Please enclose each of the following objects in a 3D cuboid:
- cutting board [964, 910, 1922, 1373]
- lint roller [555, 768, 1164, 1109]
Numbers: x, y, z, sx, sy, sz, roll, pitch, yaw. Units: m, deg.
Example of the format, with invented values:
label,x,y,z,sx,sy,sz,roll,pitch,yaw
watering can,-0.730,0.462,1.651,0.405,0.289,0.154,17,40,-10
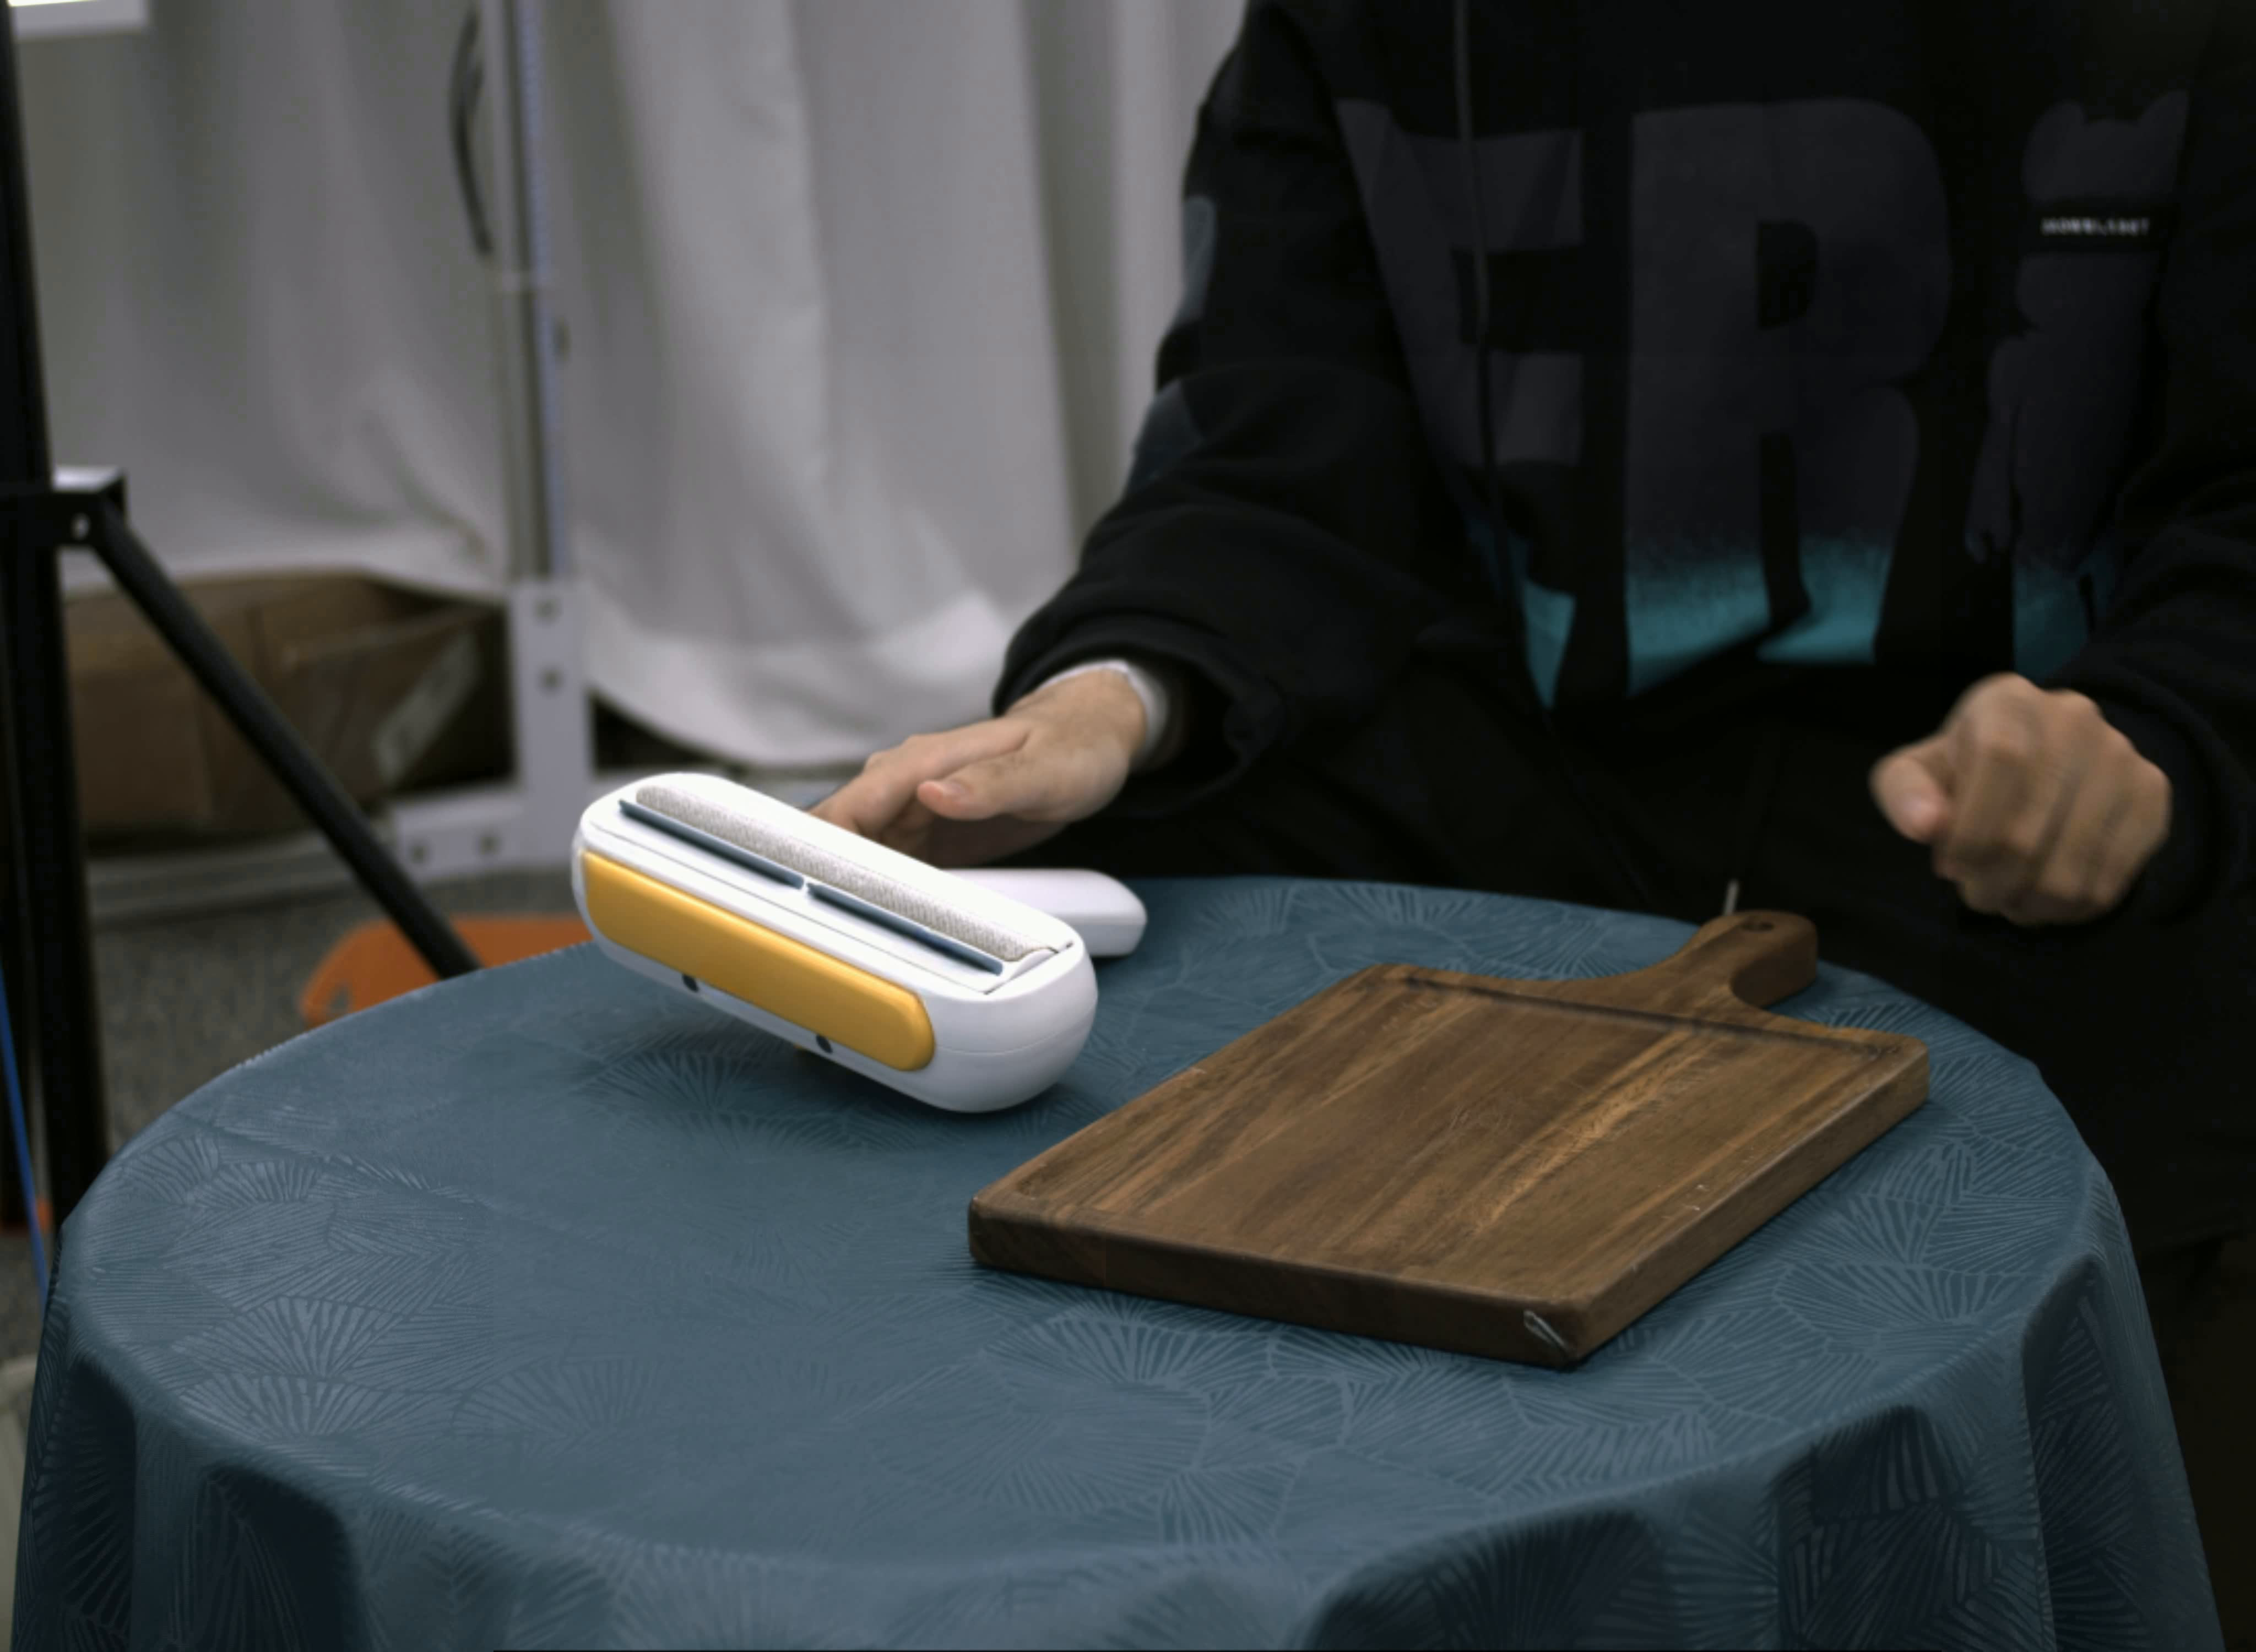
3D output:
label,x,y,z,sx,sy,sz,roll,pitch,yaw
cutting board,0.122,0.083,1.587,0.205,0.023,0.346,7,18,30
lint roller,-0.061,0.029,1.724,0.197,0.074,0.188,19,25,40
